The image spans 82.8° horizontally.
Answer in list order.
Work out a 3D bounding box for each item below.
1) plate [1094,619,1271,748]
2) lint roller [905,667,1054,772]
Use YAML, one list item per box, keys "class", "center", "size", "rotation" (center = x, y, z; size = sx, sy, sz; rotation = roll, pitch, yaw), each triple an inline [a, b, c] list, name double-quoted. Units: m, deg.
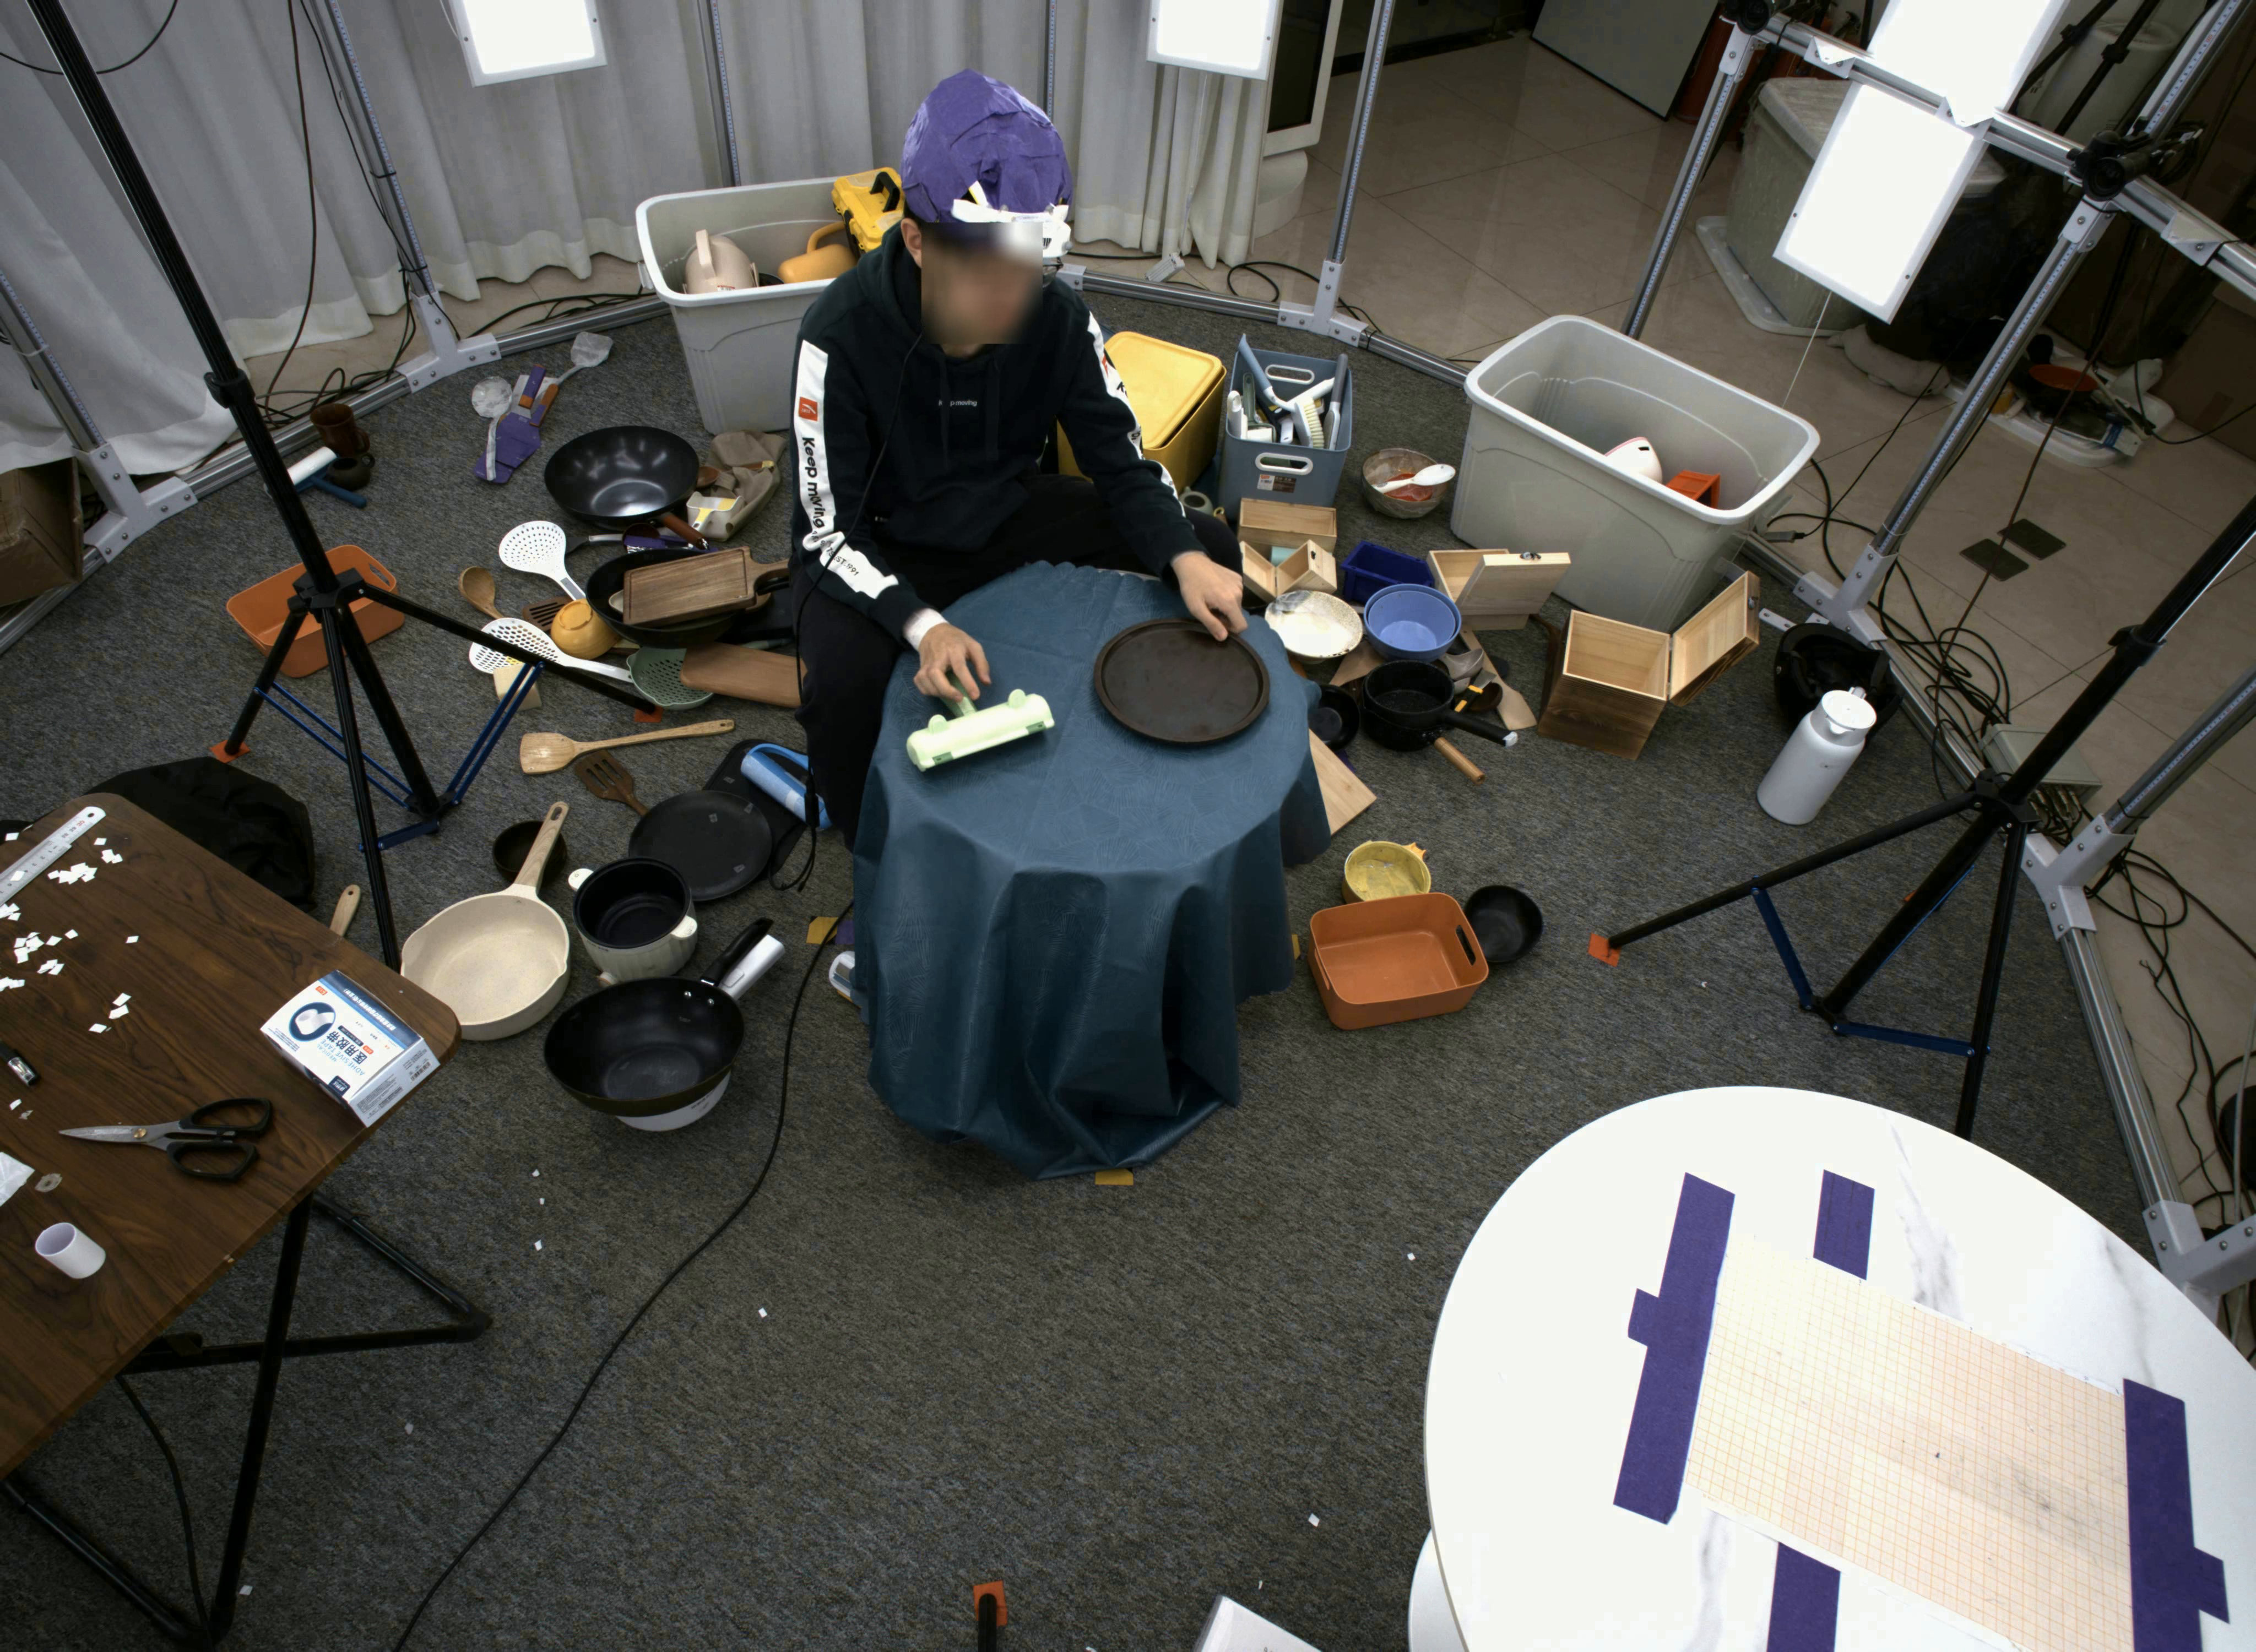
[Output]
- class: "plate"
  center: [0.077, -0.206, 1.836]
  size: [0.254, 0.028, 0.261]
  rotation: [1, 50, -2]
- class: "lint roller"
  center: [-0.224, -0.171, 1.750]
  size: [0.199, 0.080, 0.187]
  rotation: [-20, 57, -20]
